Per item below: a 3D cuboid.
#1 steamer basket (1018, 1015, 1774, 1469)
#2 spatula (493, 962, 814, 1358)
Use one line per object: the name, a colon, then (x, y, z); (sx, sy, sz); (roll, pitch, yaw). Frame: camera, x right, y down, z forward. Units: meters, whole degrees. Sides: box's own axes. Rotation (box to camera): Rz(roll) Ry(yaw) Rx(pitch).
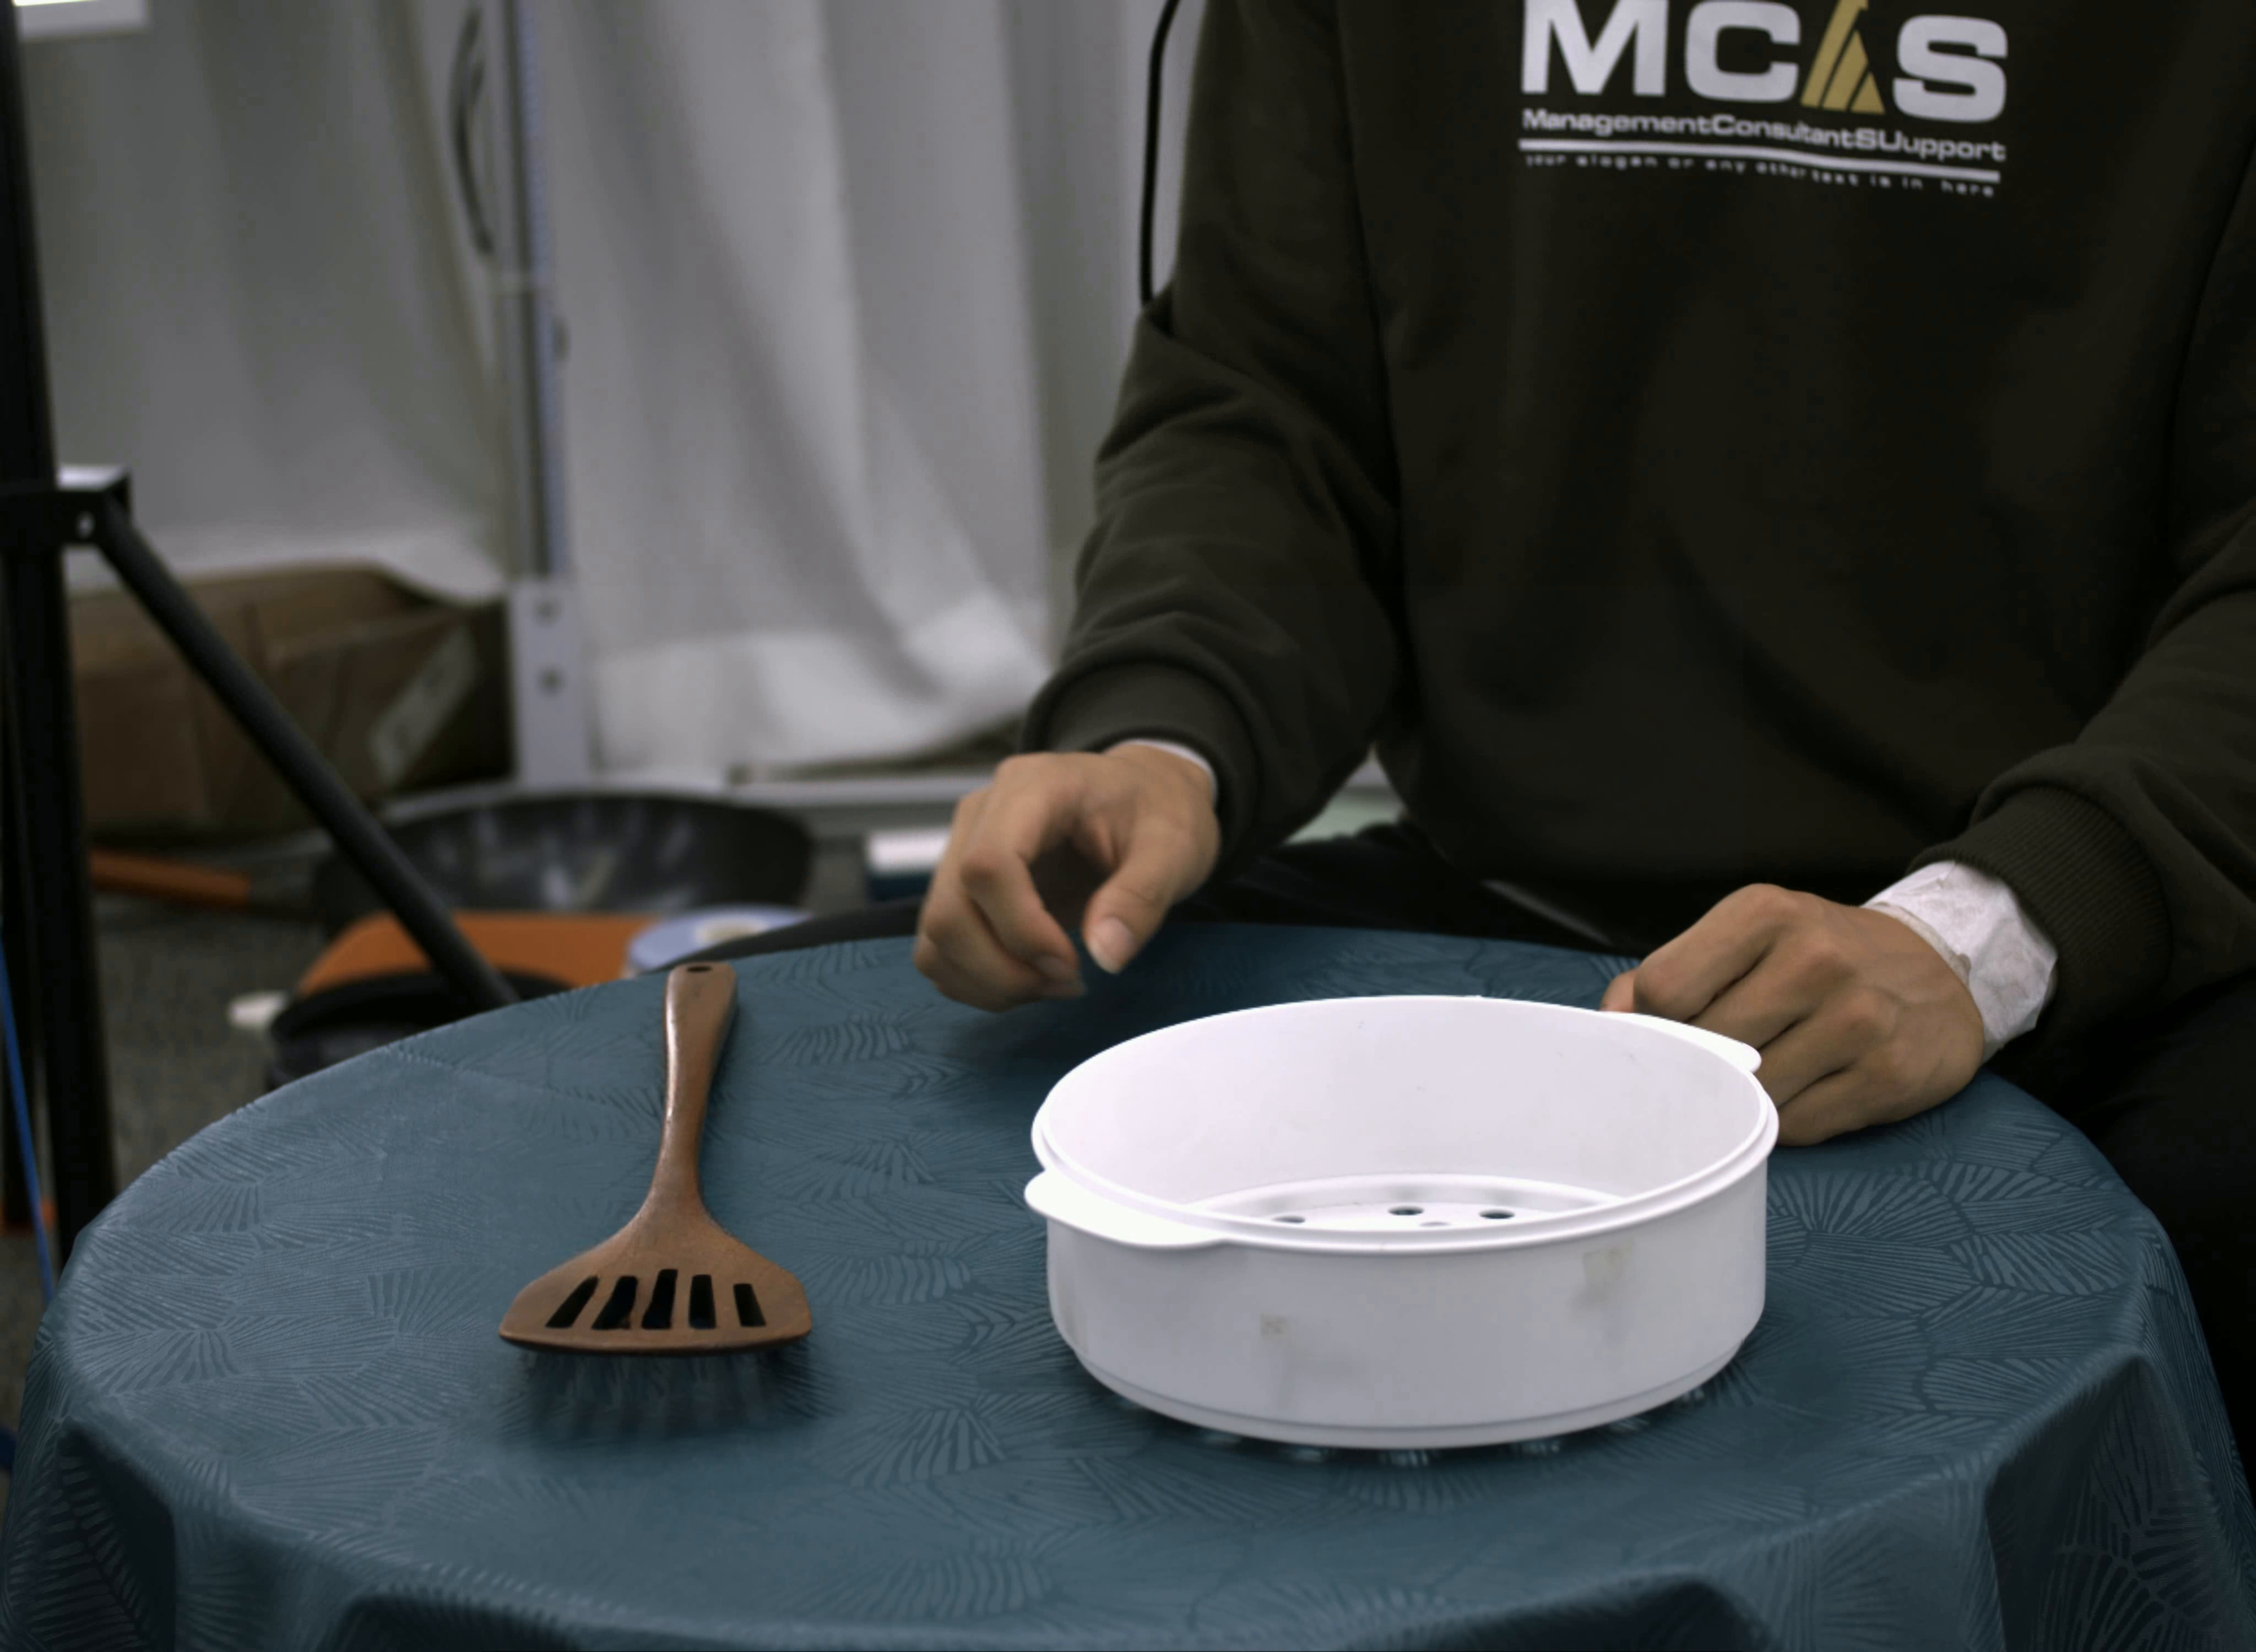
steamer basket: (0.071, 0.112, 1.427); (0.225, 0.069, 0.206); (-9, 18, -37)
spatula: (-0.134, 0.098, 1.582); (0.085, 0.024, 0.387); (-1, 15, -3)
